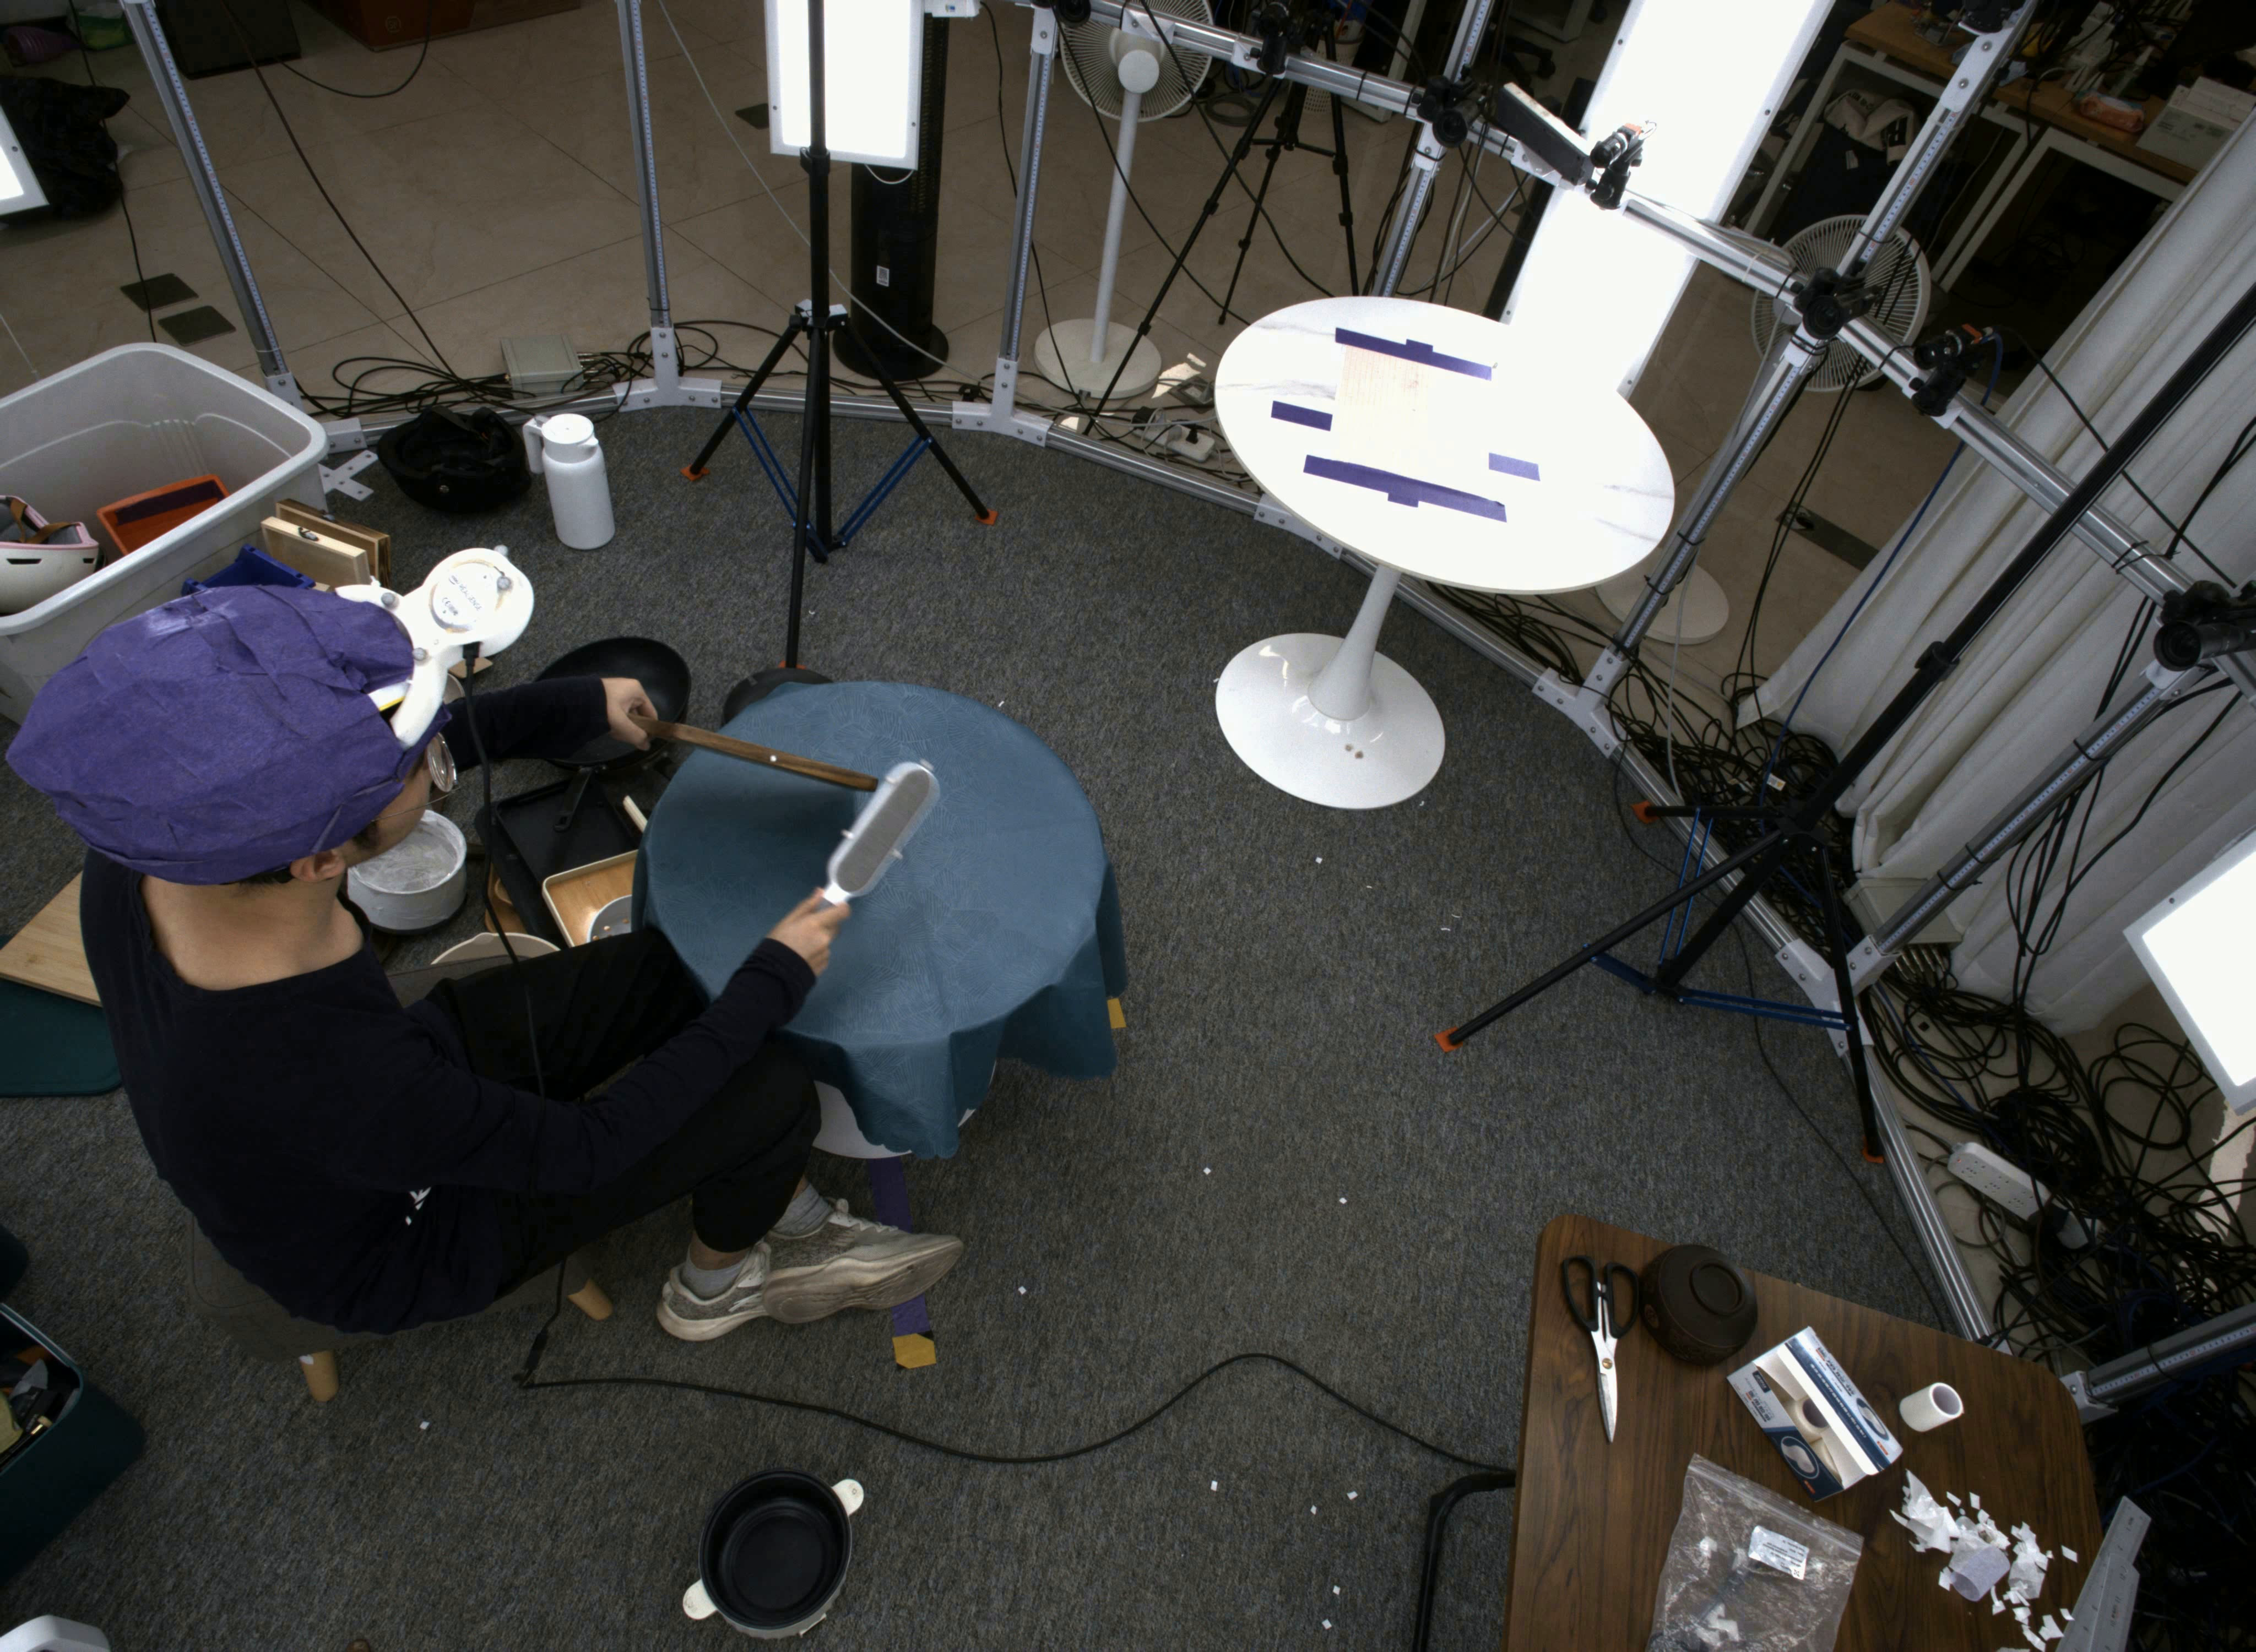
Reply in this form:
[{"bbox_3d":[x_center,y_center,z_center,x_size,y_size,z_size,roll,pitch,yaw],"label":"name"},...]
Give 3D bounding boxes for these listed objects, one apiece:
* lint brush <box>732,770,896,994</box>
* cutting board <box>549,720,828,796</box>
[{"bbox_3d":[-0.374,0.063,1.538,0.020,0.062,0.309,15,68,51],"label":"lint brush"},{"bbox_3d":[-0.560,-0.087,1.595,0.358,0.196,0.023,13,86,-25],"label":"cutting board"}]
